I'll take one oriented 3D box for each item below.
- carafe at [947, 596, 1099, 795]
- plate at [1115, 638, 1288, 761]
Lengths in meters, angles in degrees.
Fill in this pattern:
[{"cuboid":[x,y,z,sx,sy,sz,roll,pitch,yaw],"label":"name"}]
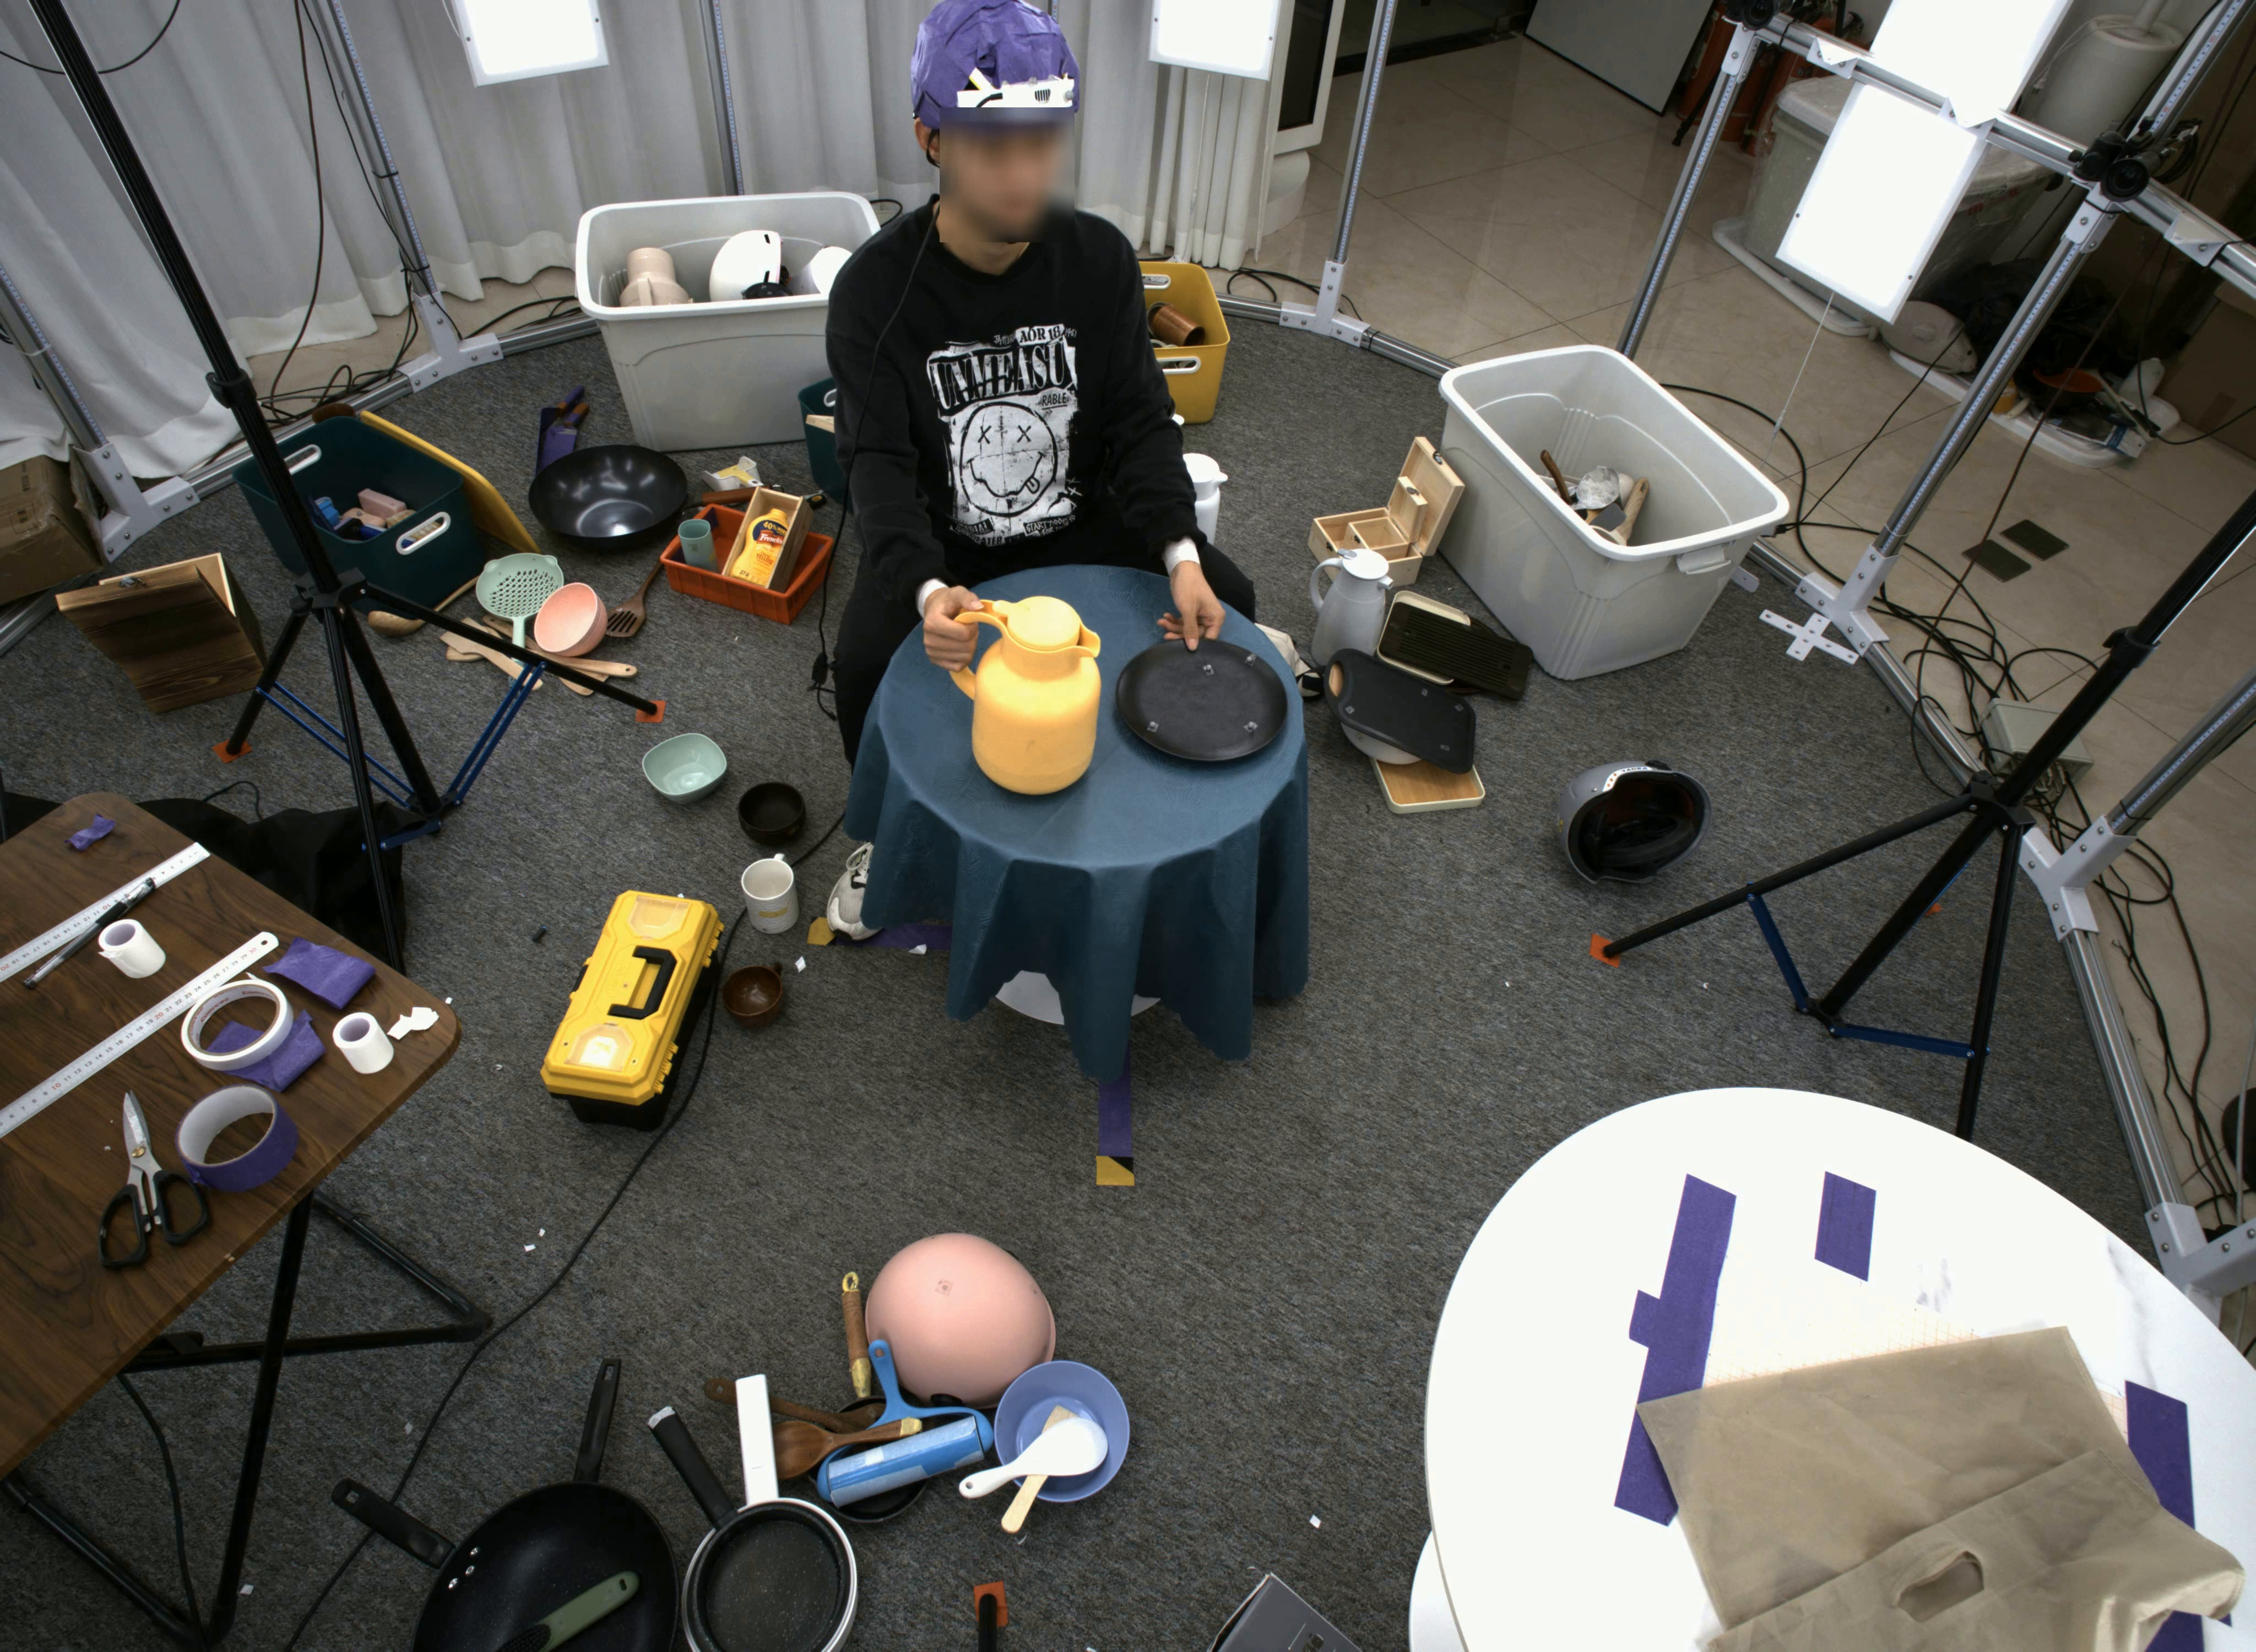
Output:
[{"cuboid":[-0.136,-0.179,1.643,0.203,0.254,0.166,23,48,10],"label":"carafe"},{"cuboid":[0.104,-0.176,1.812,0.244,0.023,0.250,2,49,-2],"label":"plate"}]
